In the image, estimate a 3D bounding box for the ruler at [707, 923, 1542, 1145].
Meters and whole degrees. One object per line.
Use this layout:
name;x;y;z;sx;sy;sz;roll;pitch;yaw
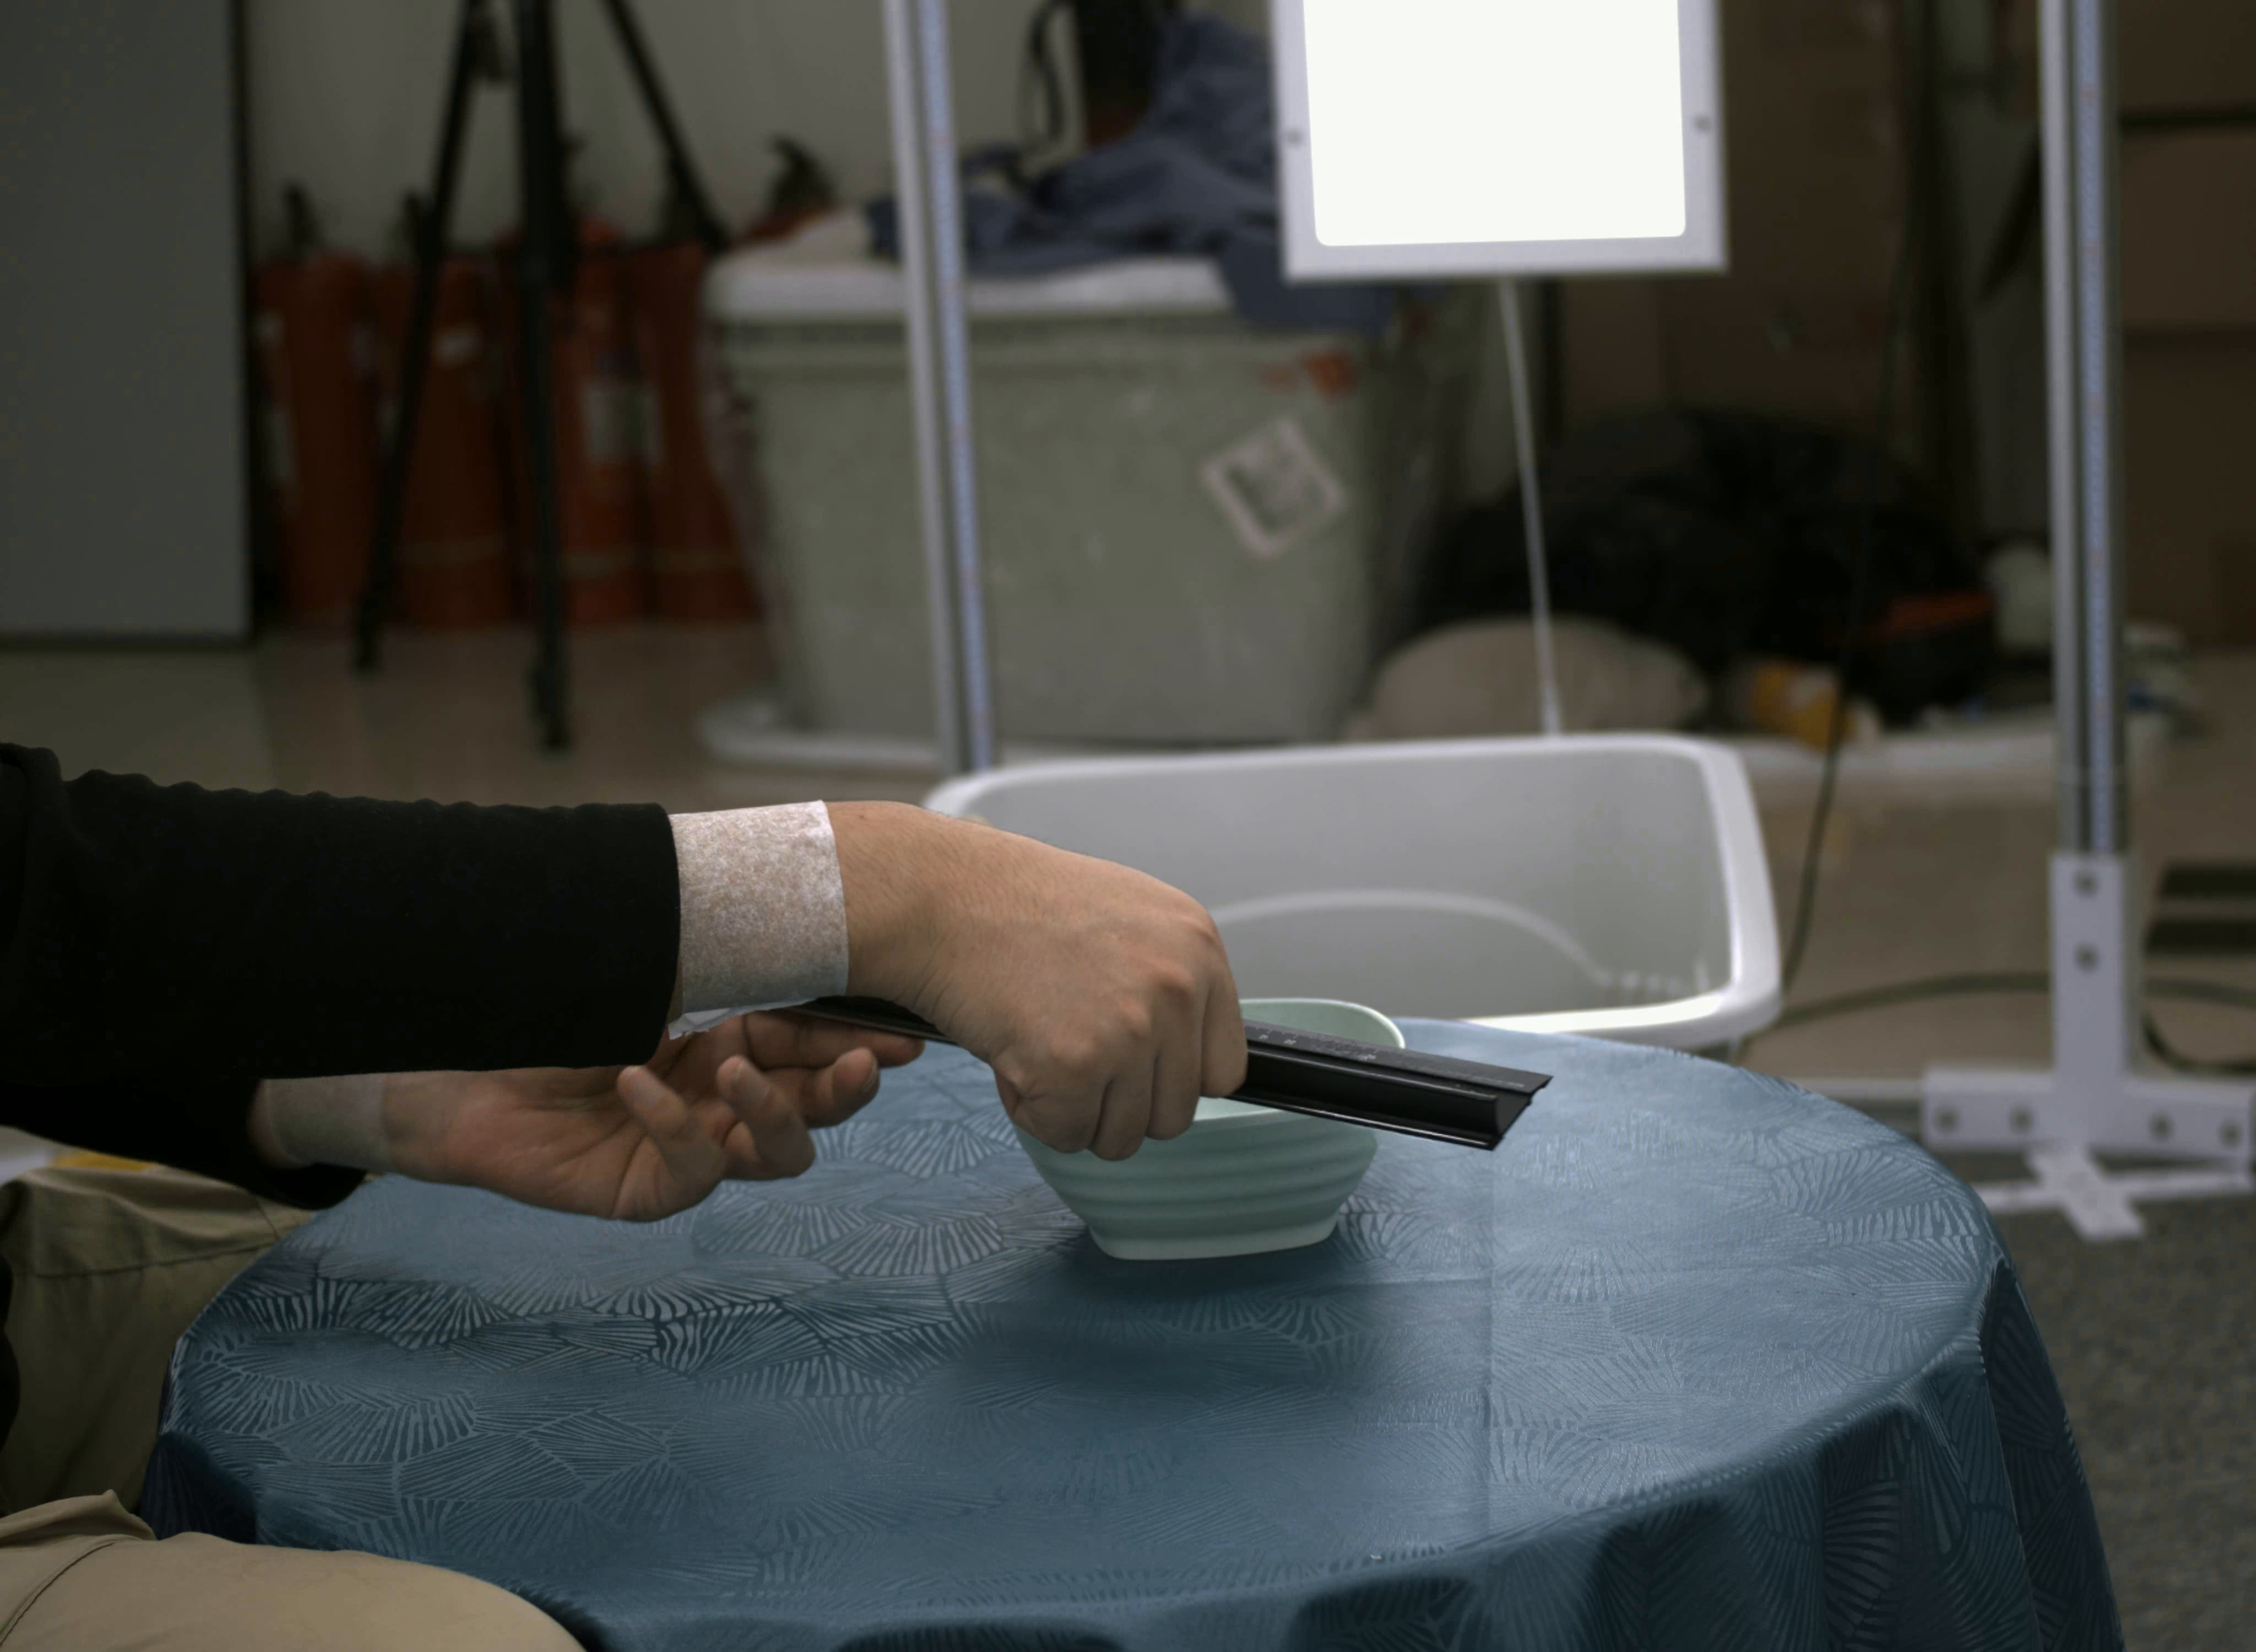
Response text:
ruler;-0.007;0.059;1.755;0.319;0.017;0.038;10;37;37

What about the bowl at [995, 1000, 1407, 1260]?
bowl;0.025;0.105;1.855;0.151;0.059;0.151;-2;14;-1
